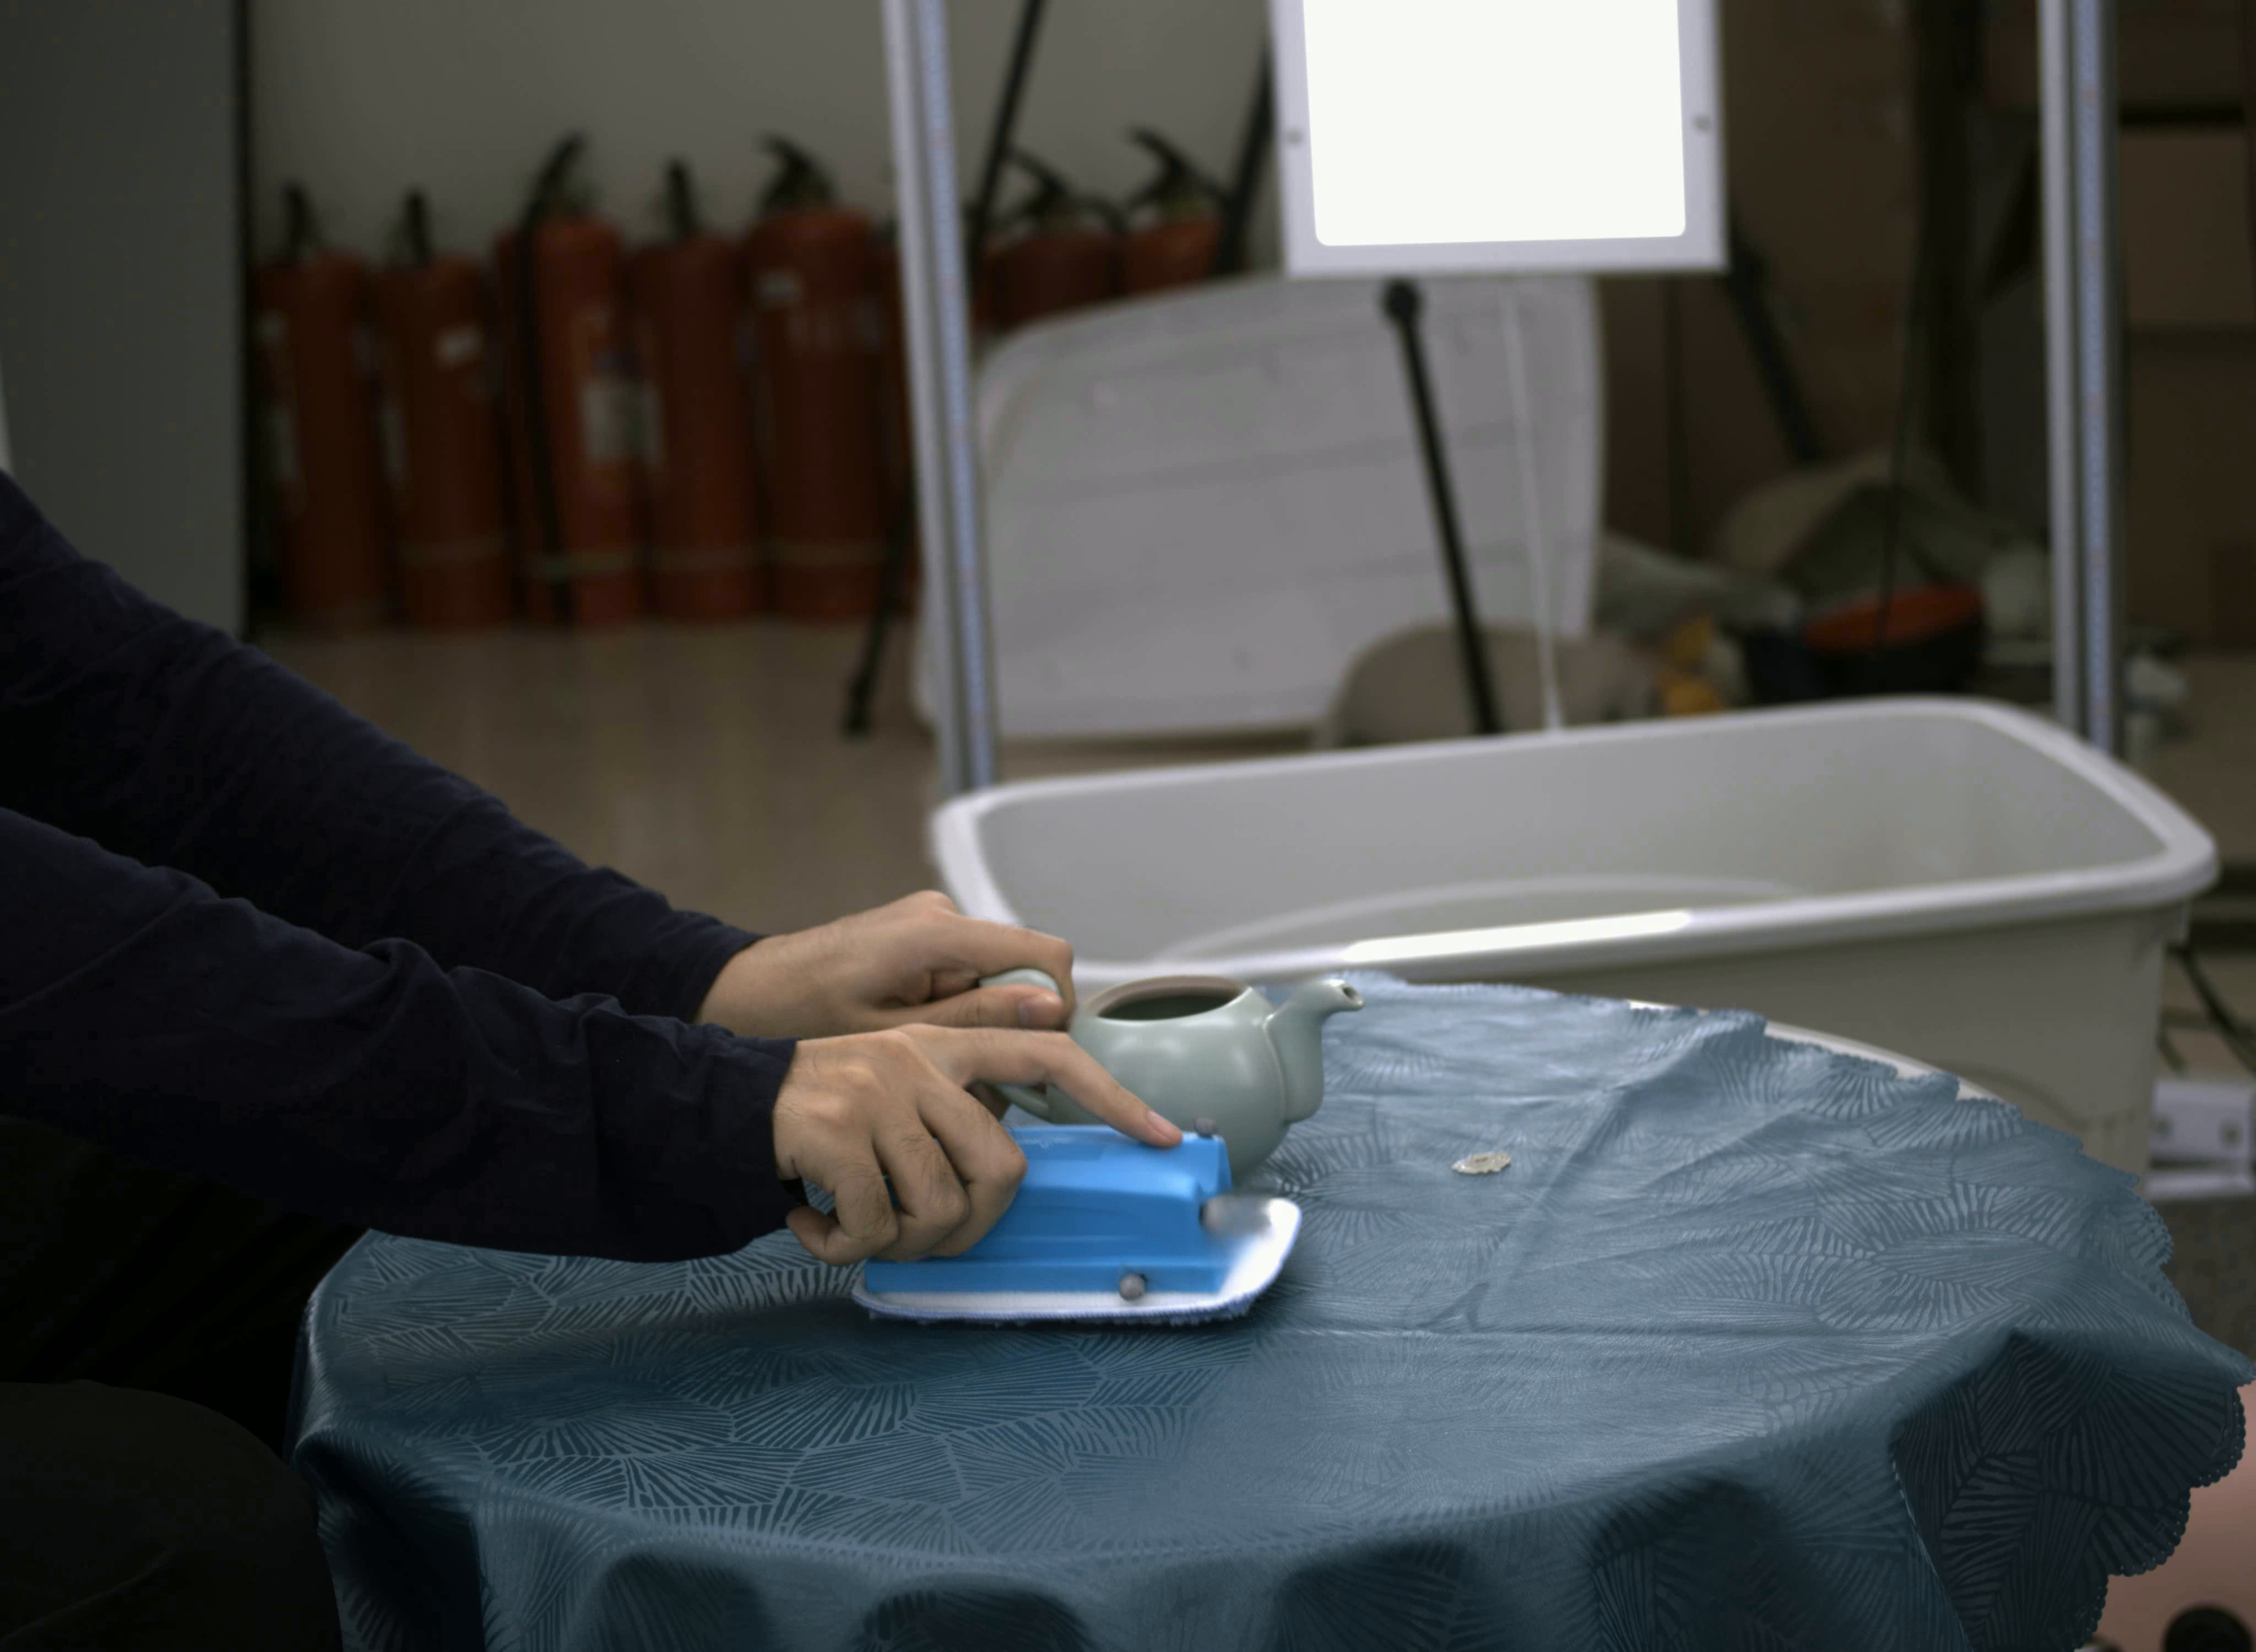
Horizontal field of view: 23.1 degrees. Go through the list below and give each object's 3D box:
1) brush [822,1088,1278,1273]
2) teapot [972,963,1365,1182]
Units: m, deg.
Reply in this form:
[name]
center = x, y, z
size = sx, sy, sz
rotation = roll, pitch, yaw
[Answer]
[brush]
center = -0.025, 0.114, 1.779
size = 0.145, 0.056, 0.083
rotation = 1, 14, 10
[teapot]
center = 0.015, 0.087, 1.900
size = 0.146, 0.075, 0.086
rotation = 4, 17, 24
